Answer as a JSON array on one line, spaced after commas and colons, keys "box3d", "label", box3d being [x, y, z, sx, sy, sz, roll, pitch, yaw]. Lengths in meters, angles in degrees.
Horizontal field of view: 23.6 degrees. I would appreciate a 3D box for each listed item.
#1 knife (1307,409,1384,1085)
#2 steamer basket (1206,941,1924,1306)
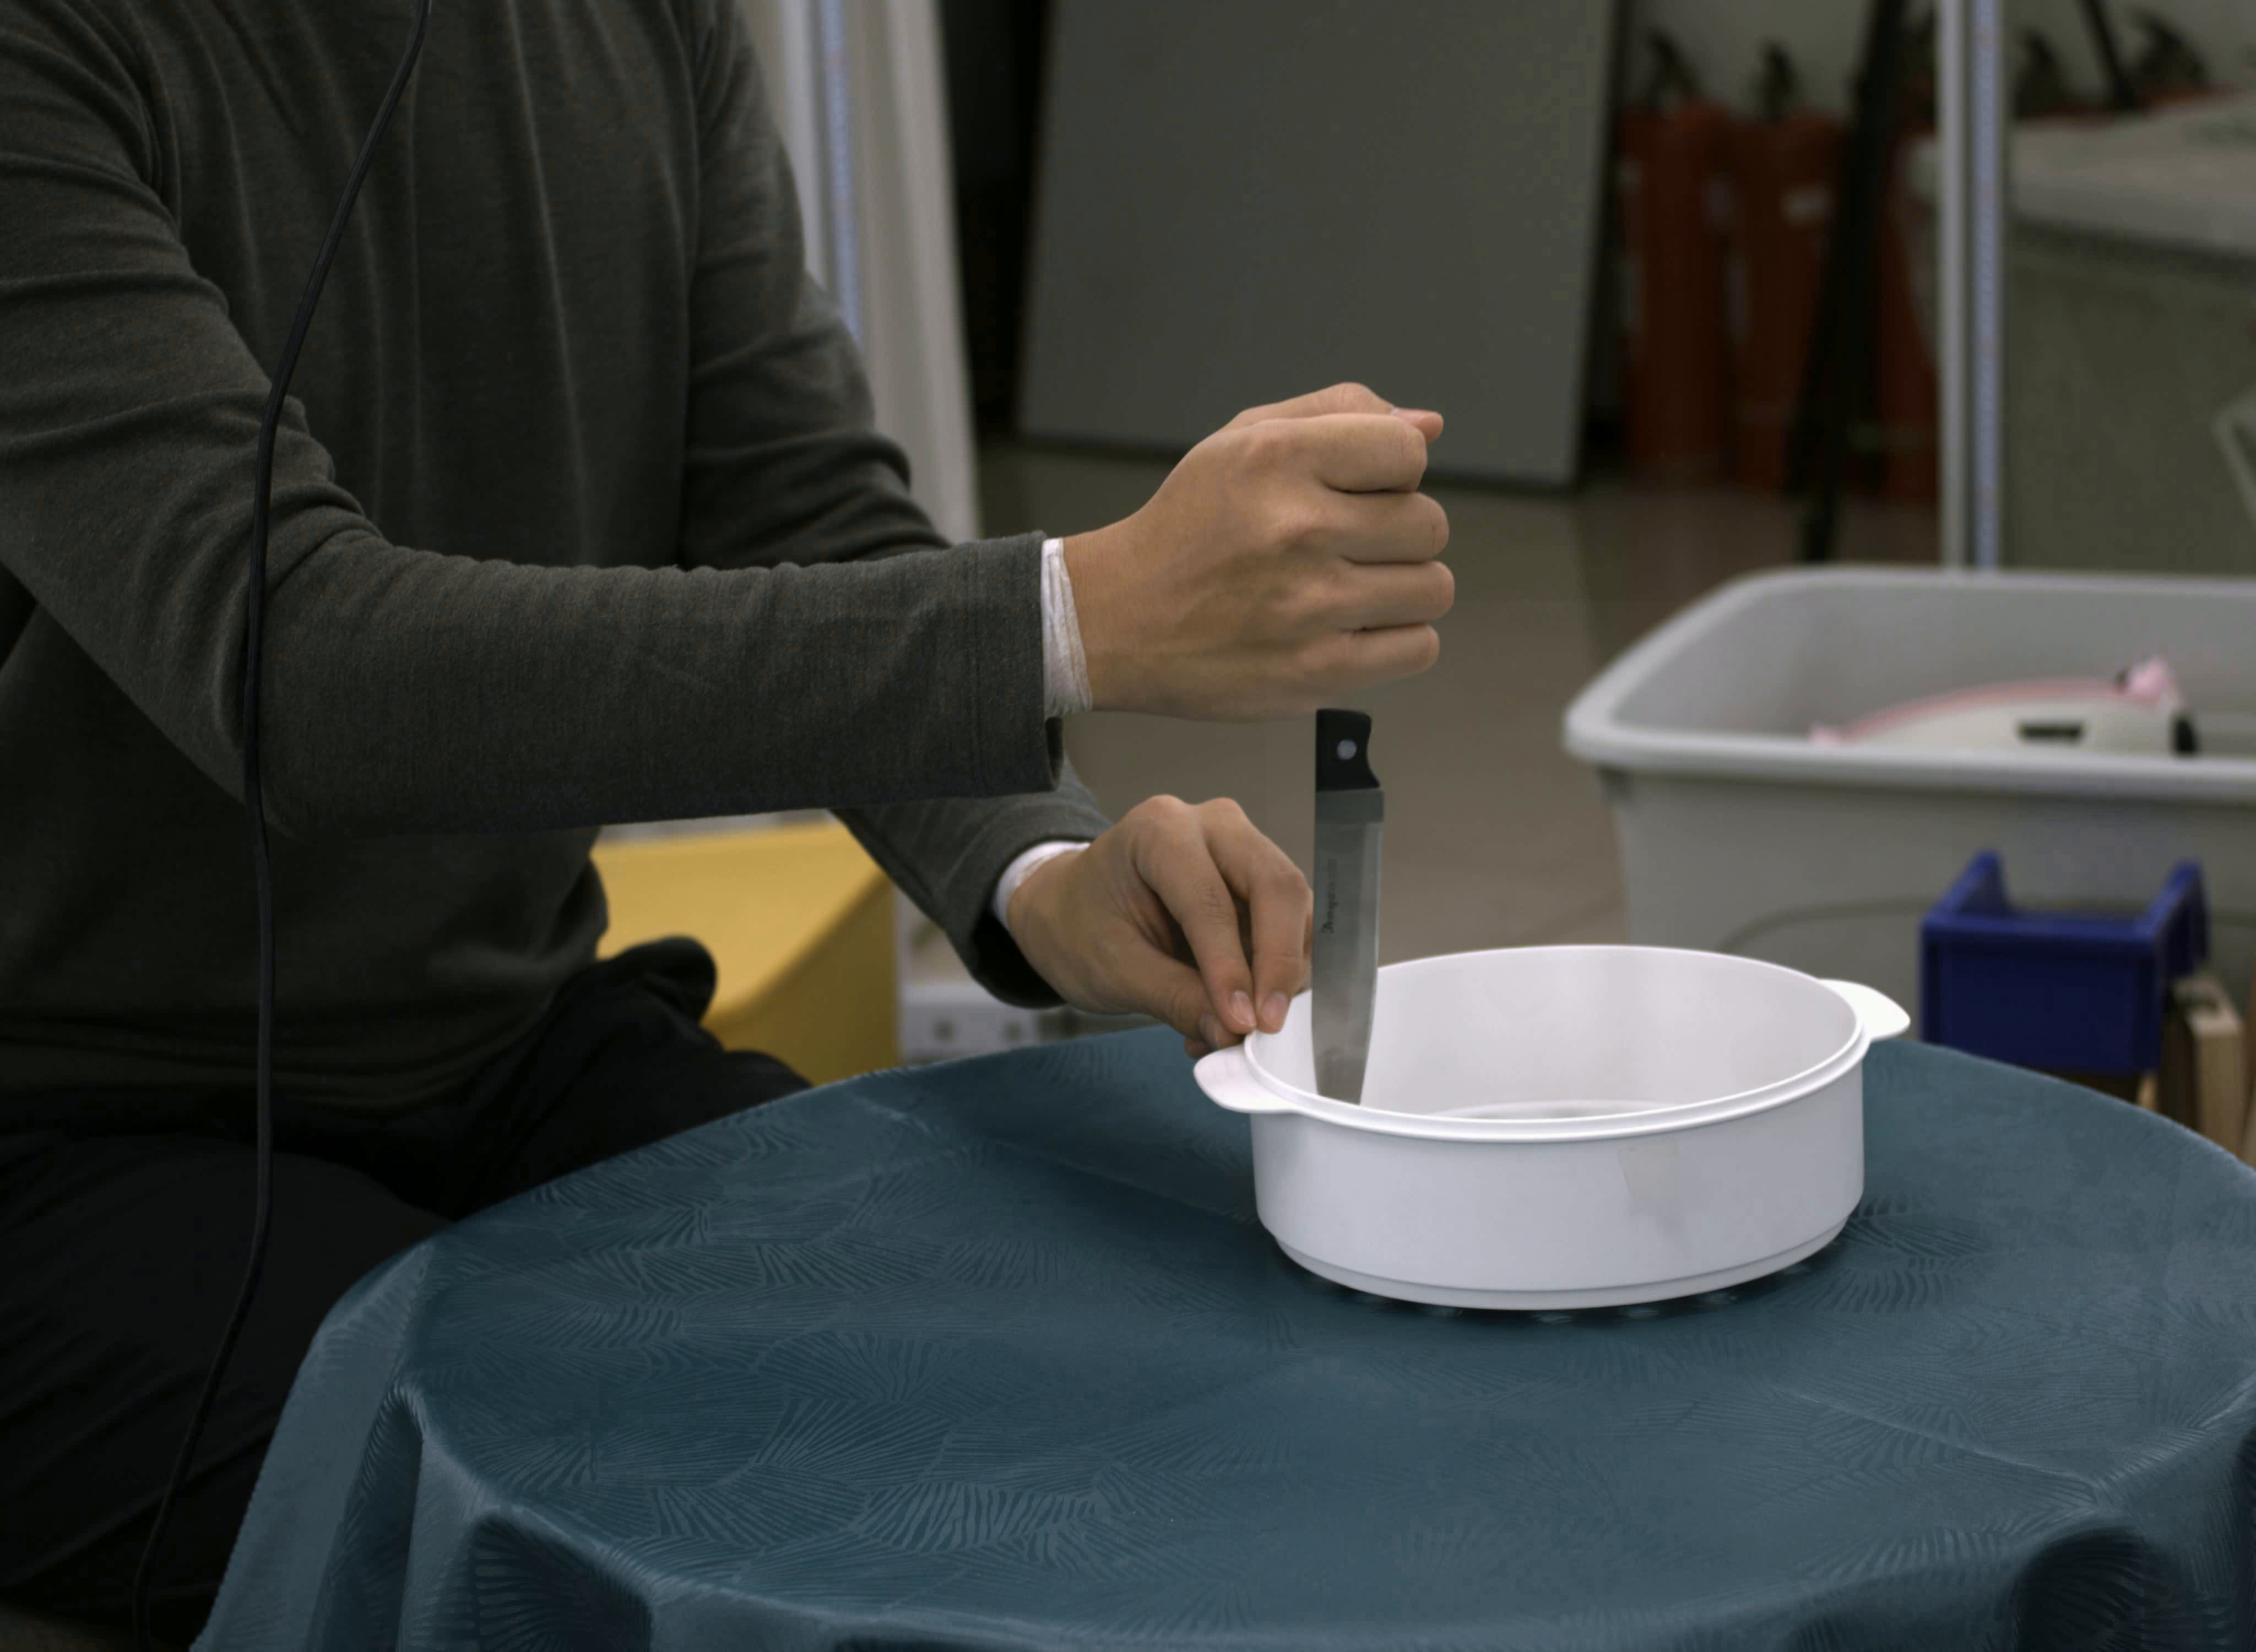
[{"box3d": [0.067, -0.009, 1.663, 0.024, 0.241, 0.016, -1, 14, -3], "label": "knife"}, {"box3d": [0.140, 0.094, 1.700, 0.226, 0.070, 0.203, -7, 13, -9], "label": "steamer basket"}]
